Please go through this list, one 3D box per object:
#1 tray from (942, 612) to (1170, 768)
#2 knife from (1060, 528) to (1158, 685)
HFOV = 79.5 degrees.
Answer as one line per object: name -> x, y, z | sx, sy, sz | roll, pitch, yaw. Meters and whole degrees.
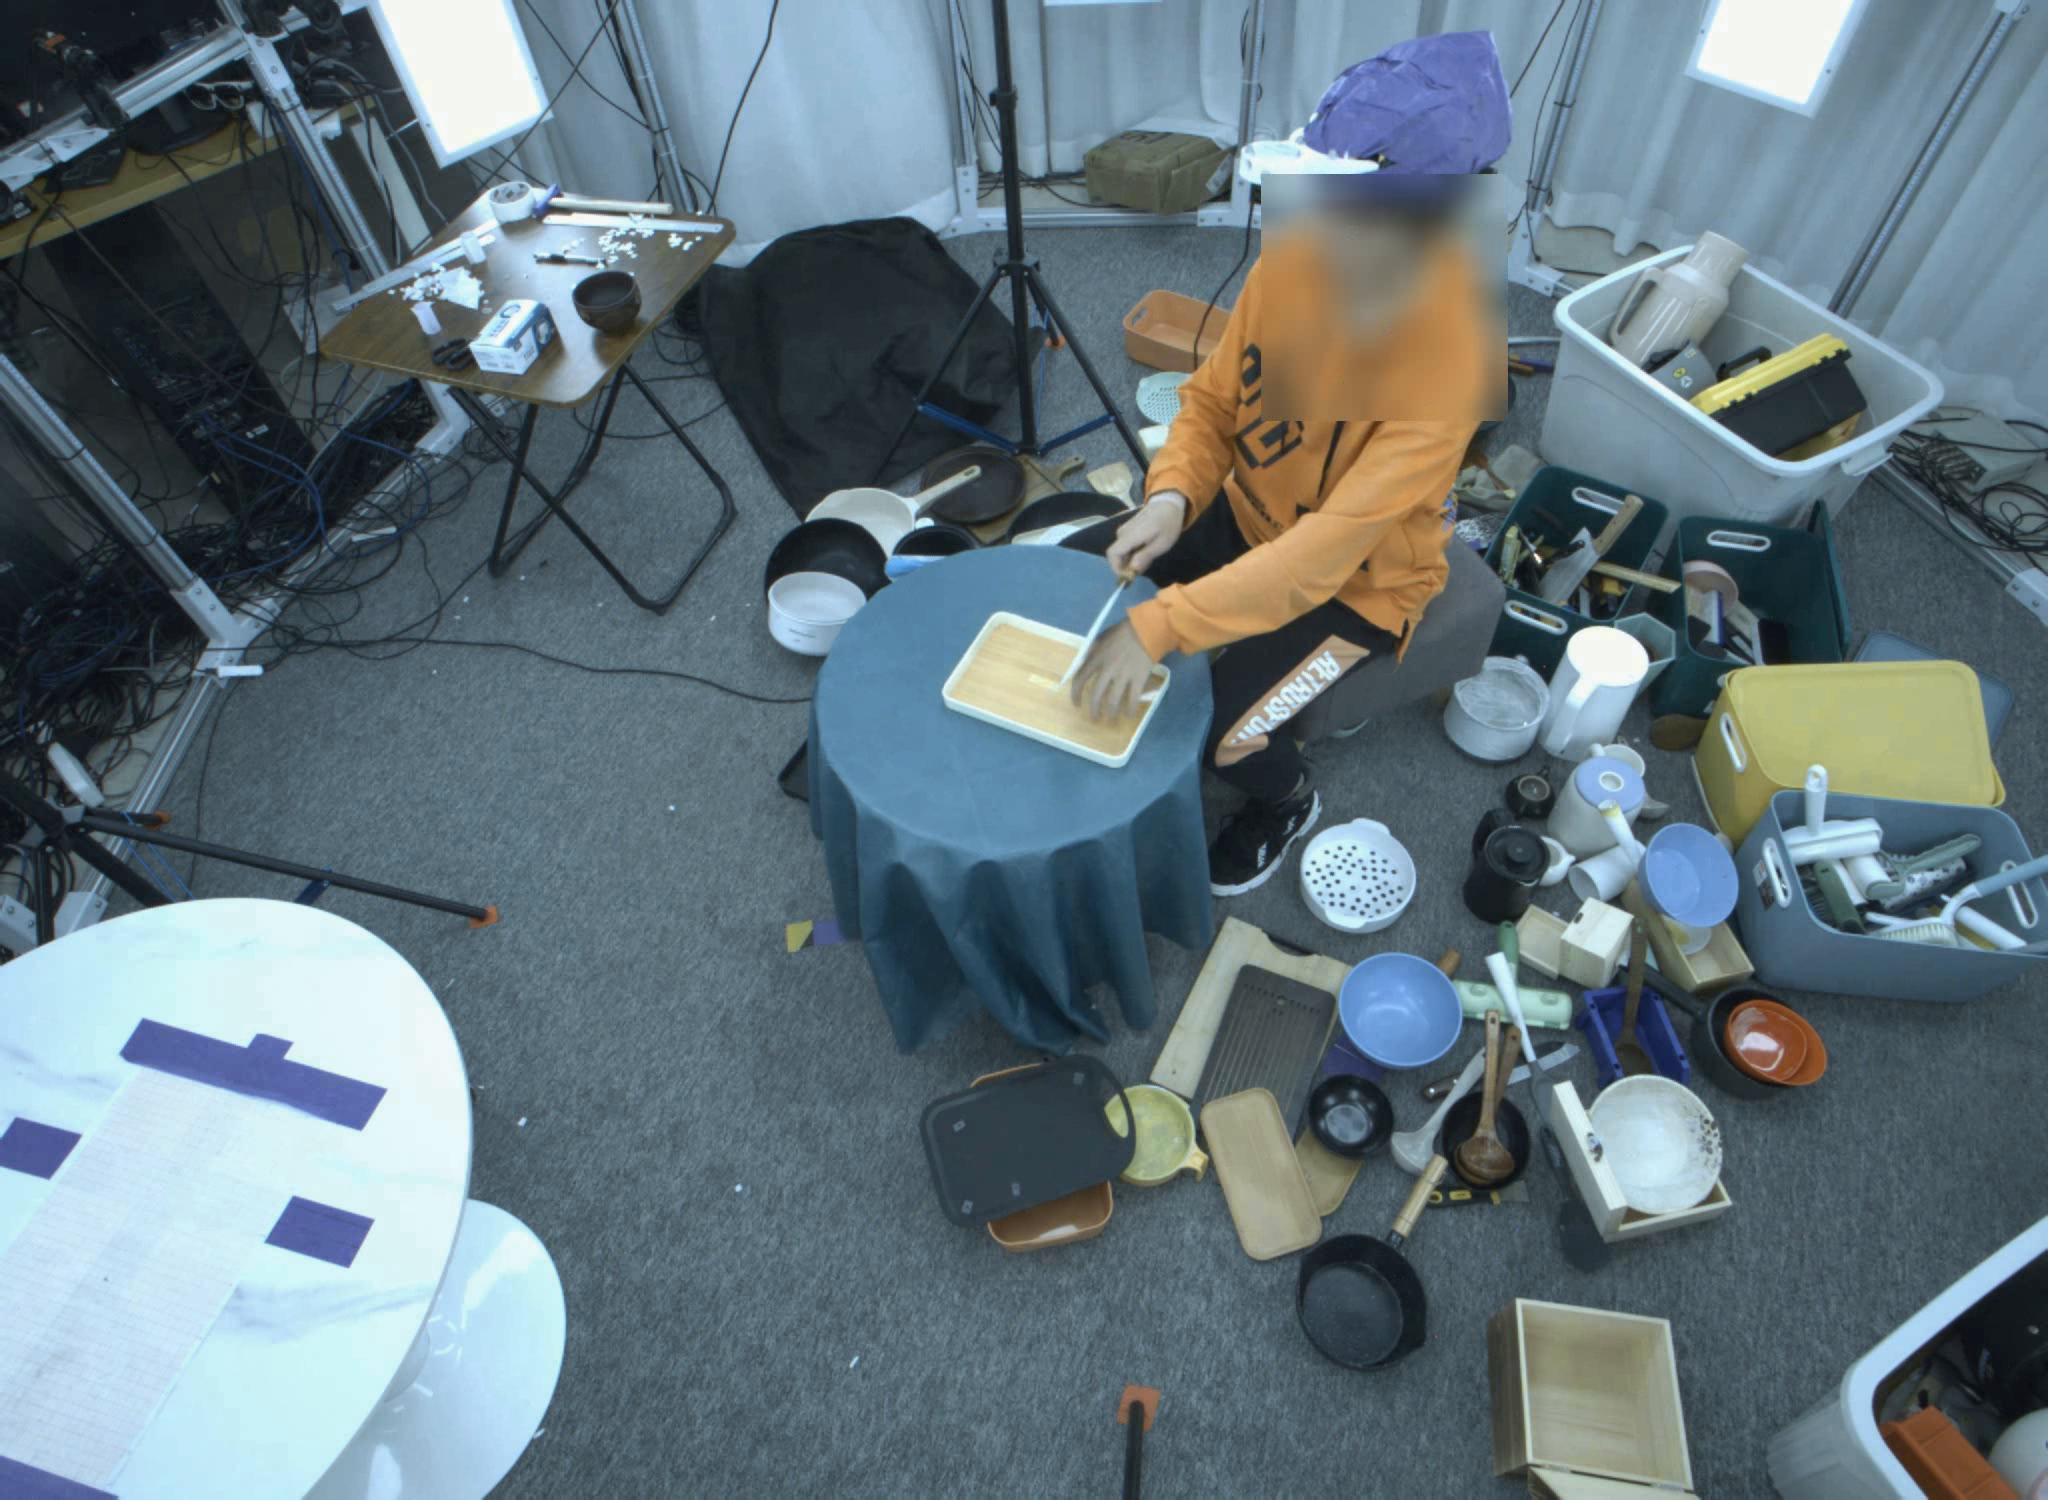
tray -> 0.048, -0.094, 1.835 | 0.296, 0.028, 0.192 | 21, 58, 16
knife -> 0.119, -0.206, 1.772 | 0.021, 0.092, 0.306 | 33, 54, -4
